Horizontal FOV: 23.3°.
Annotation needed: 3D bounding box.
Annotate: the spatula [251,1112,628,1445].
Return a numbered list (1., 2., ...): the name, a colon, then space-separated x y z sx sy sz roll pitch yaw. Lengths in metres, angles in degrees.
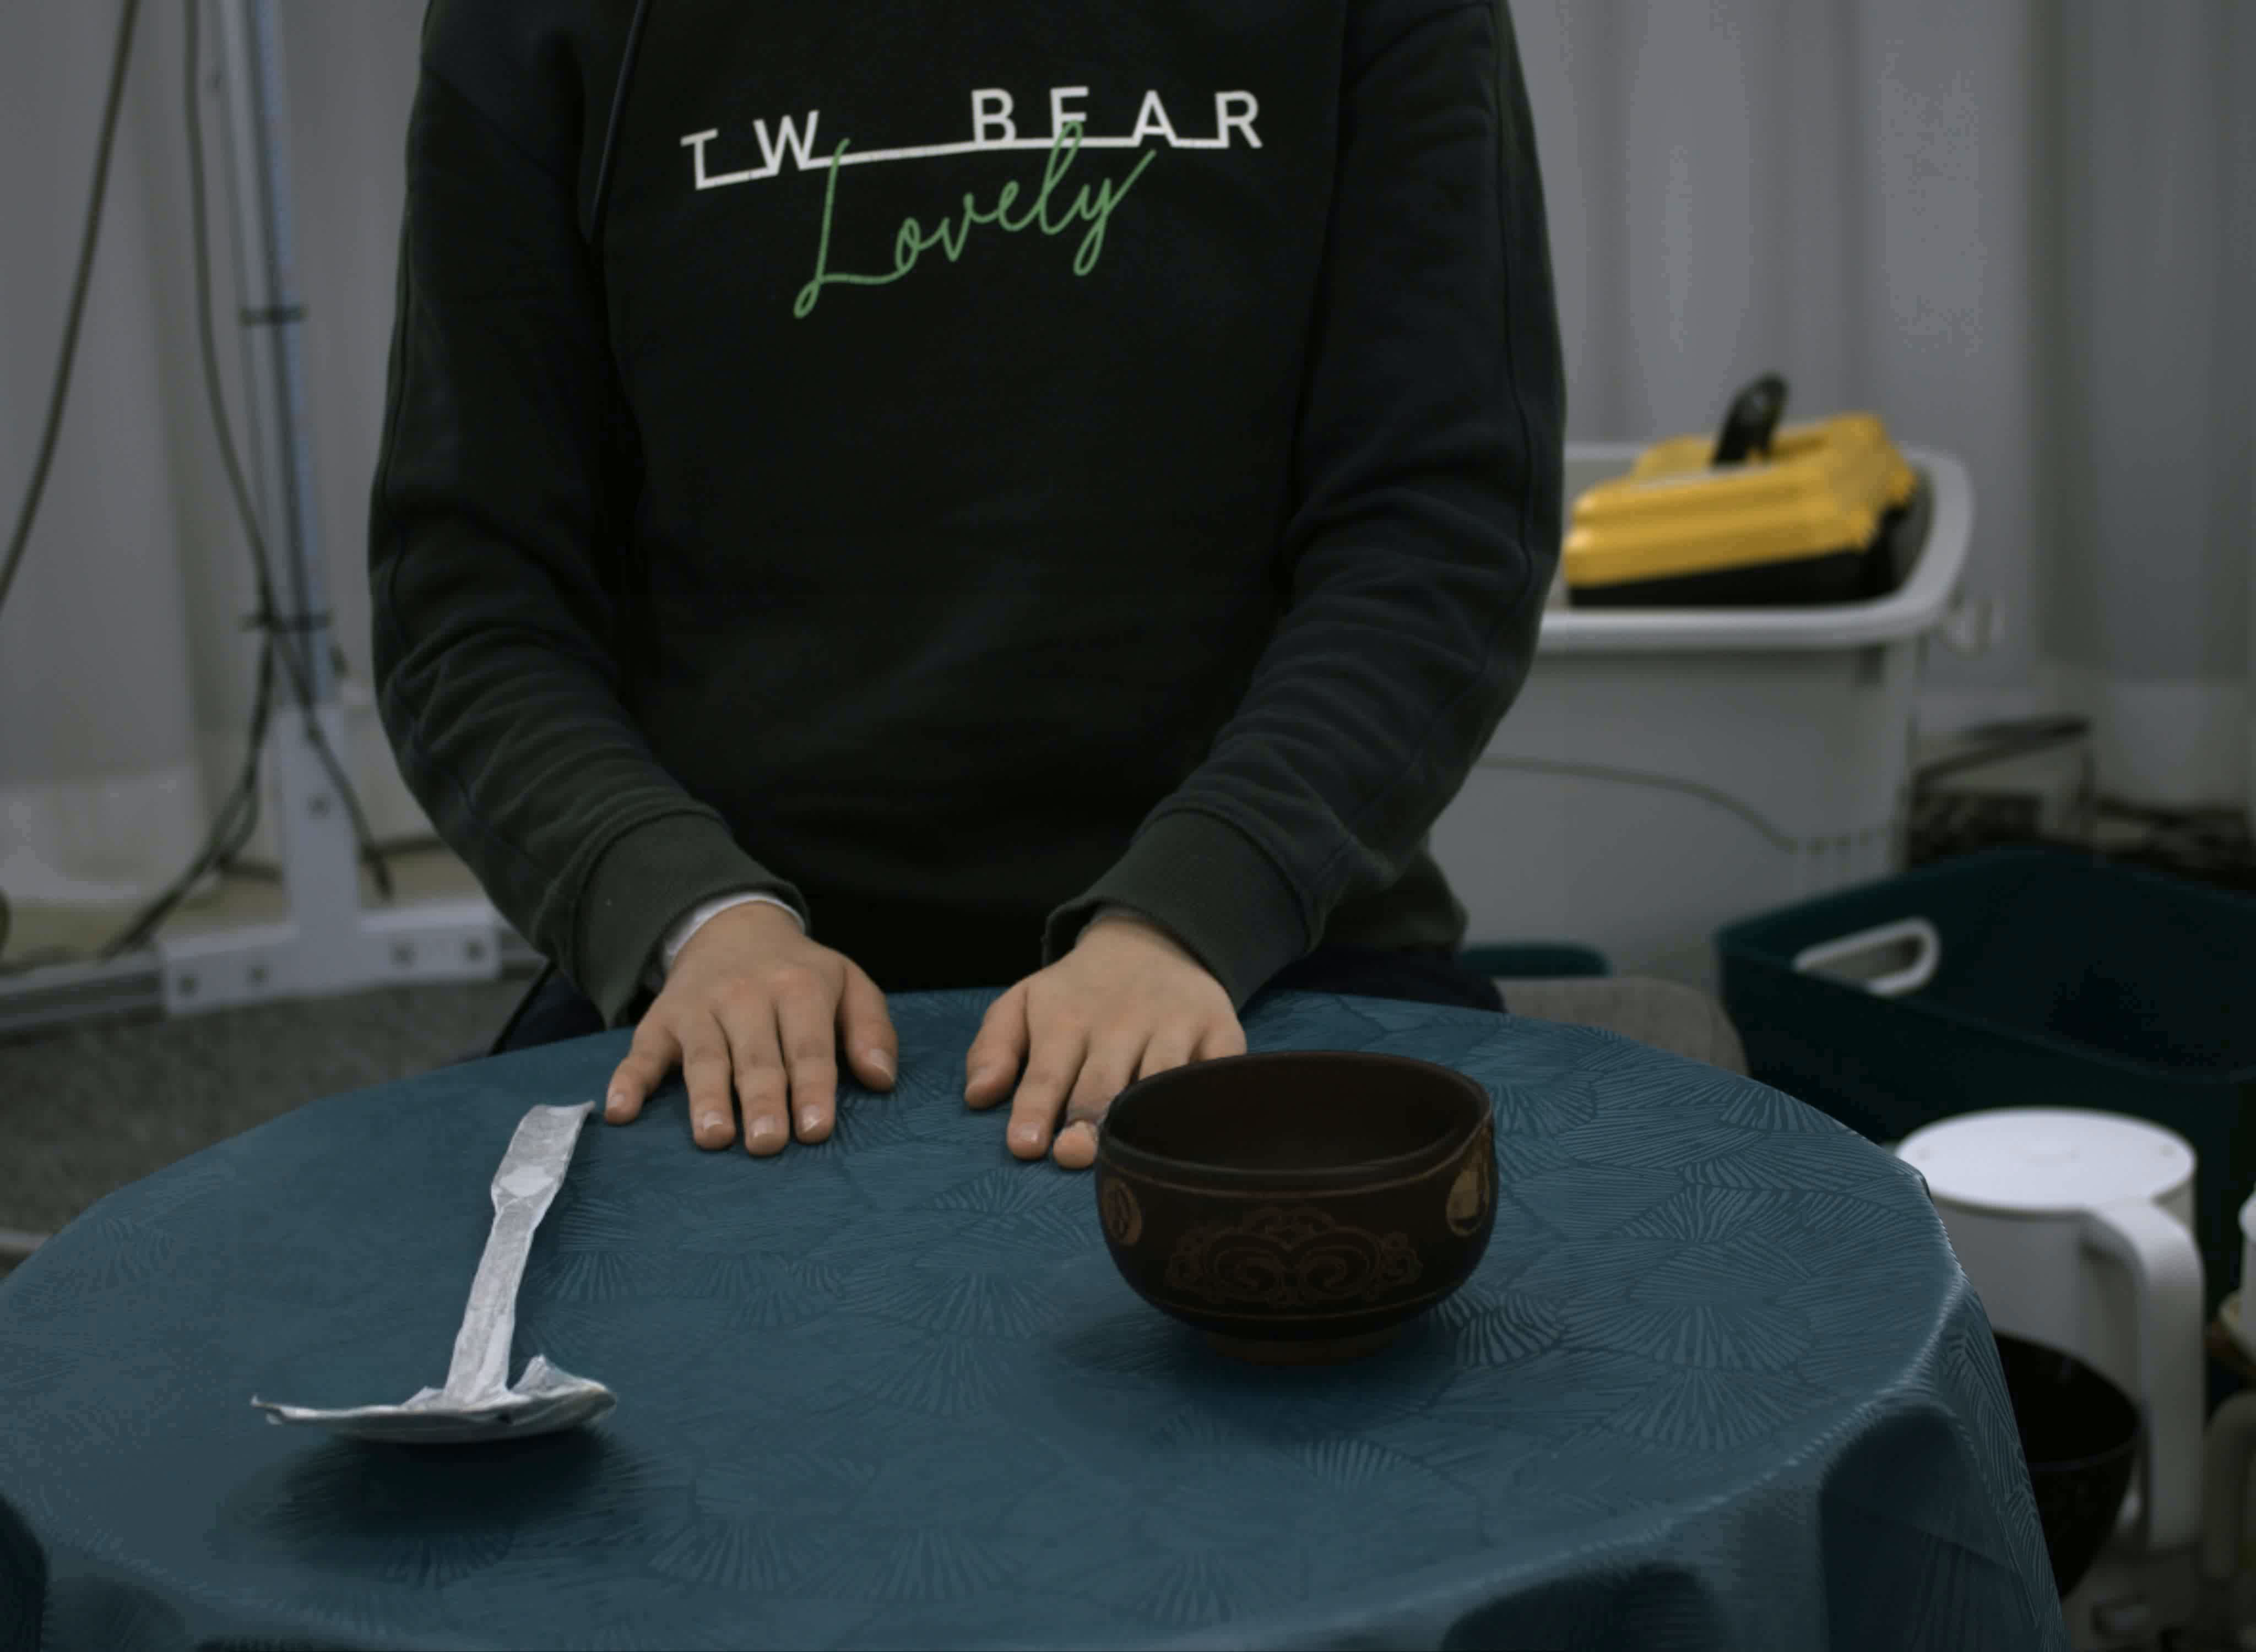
1. spatula: -0.183 0.126 1.632 0.098 0.044 0.367 -4 15 2

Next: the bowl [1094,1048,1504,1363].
1. bowl: 0.049 0.113 1.574 0.117 0.069 0.119 -1 14 0
